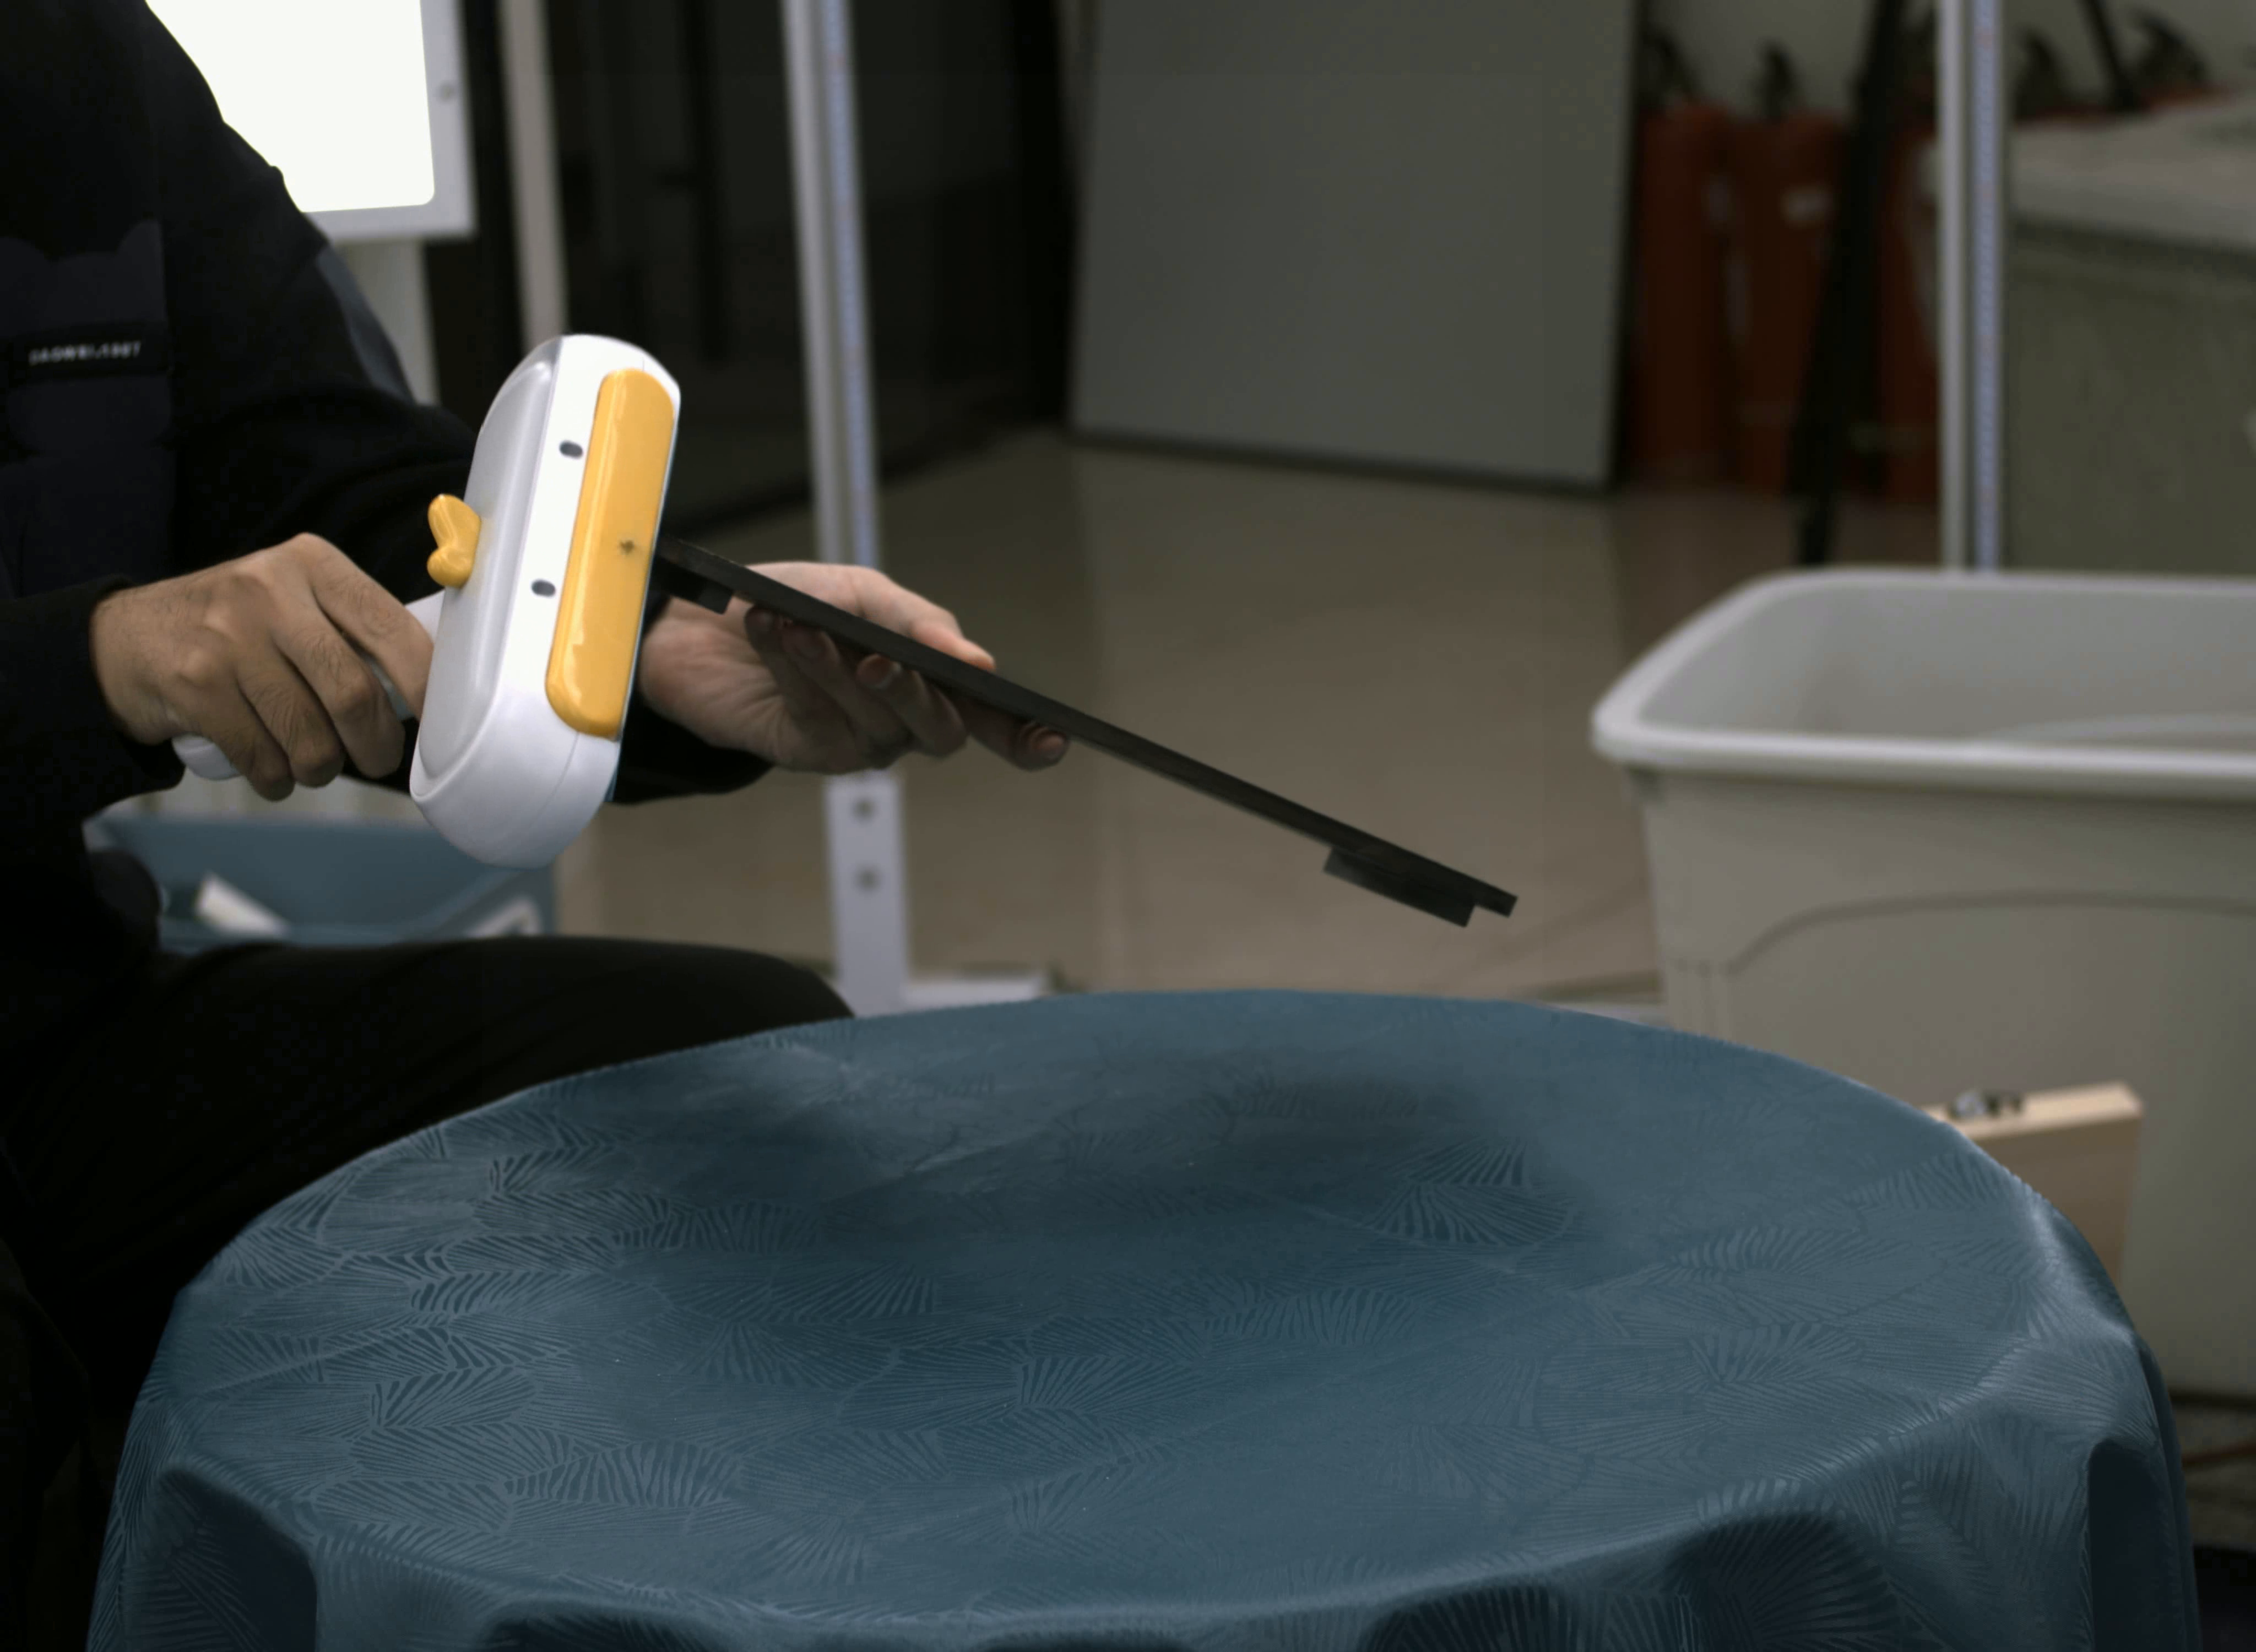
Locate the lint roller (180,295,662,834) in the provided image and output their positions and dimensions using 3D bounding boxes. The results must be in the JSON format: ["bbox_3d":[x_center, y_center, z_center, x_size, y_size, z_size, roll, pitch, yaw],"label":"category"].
[{"bbox_3d":[-0.225,-0.058,1.723,0.073,0.195,0.194,28,-46,-32],"label":"lint roller"}]

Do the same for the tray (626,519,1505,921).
[{"bbox_3d":[-0.030,-0.034,1.783,0.301,0.019,0.171,23,-1,-12],"label":"tray"}]
